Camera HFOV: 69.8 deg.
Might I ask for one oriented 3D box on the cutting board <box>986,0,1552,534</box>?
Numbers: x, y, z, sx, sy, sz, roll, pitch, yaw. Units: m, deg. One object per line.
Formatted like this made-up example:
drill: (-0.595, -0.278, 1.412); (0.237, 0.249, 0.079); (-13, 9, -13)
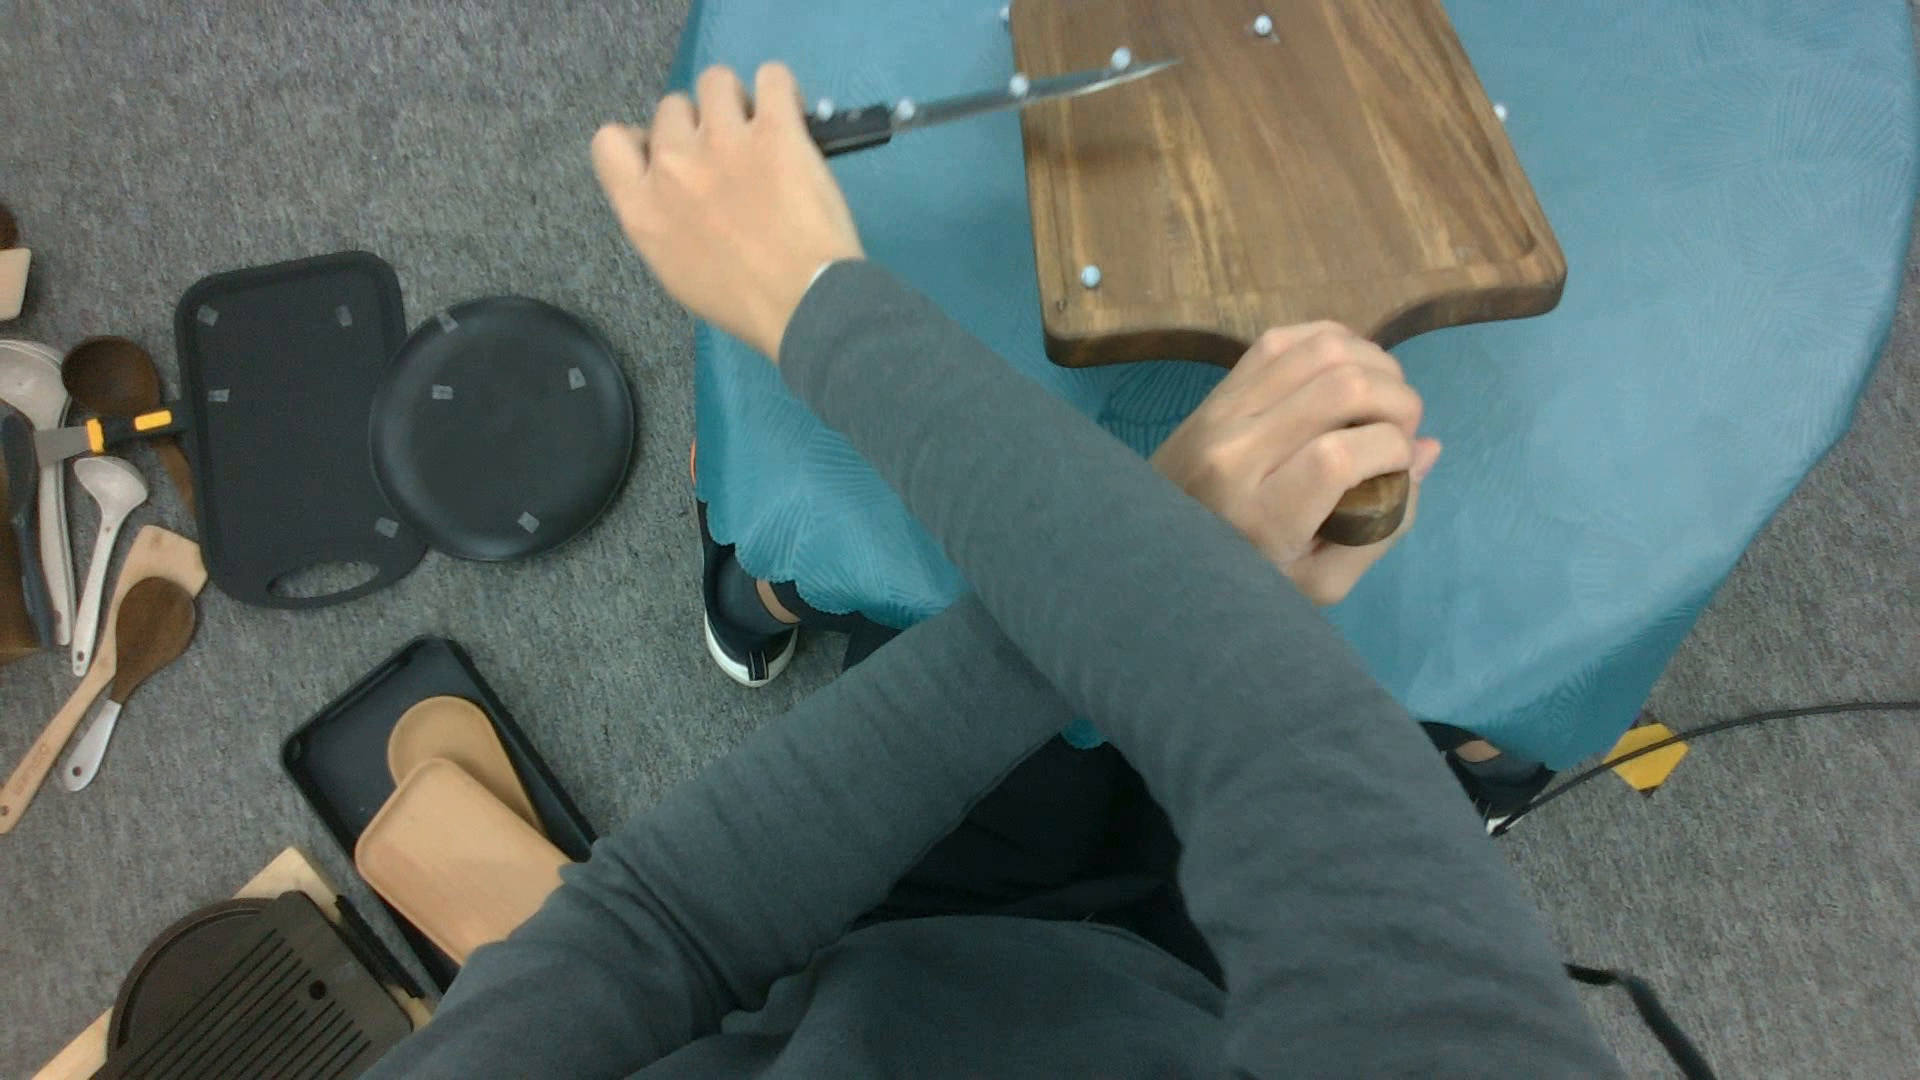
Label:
cutting board: (0.121, -0.142, 0.570); (0.201, 0.023, 0.353); (-6, 50, 3)

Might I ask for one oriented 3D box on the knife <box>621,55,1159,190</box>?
knife: (-0.031, -0.182, 0.594); (0.238, 0.016, 0.024); (-11, 45, 3)
